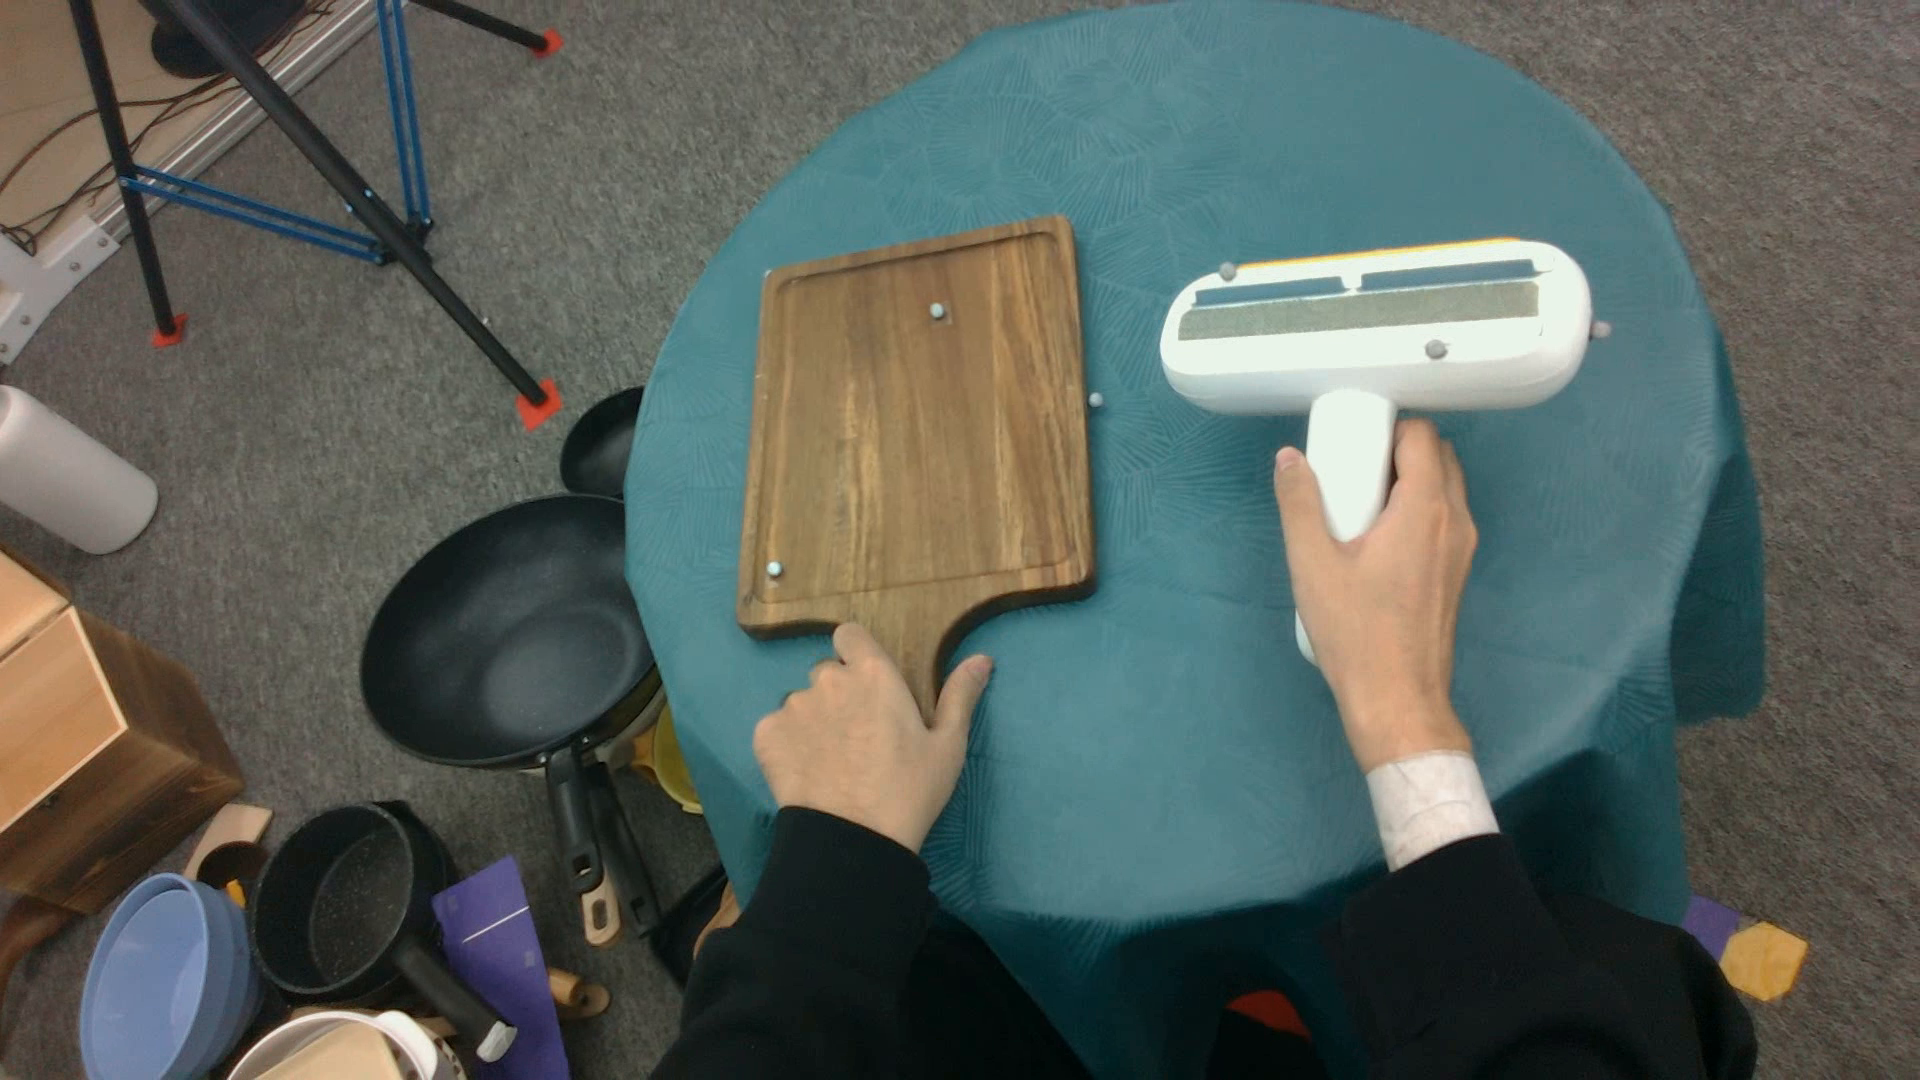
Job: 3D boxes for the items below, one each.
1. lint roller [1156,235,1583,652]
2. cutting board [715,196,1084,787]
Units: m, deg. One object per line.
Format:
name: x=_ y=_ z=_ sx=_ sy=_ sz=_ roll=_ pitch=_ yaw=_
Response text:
lint roller: x=0.171 y=-0.046 z=0.628 sx=0.192 sy=0.074 sz=0.193 roll=8 pitch=77 yaw=31
cutting board: x=-0.037 y=-0.036 z=0.754 sx=0.201 sy=0.023 sz=0.353 roll=-8 pitch=60 yaw=11
